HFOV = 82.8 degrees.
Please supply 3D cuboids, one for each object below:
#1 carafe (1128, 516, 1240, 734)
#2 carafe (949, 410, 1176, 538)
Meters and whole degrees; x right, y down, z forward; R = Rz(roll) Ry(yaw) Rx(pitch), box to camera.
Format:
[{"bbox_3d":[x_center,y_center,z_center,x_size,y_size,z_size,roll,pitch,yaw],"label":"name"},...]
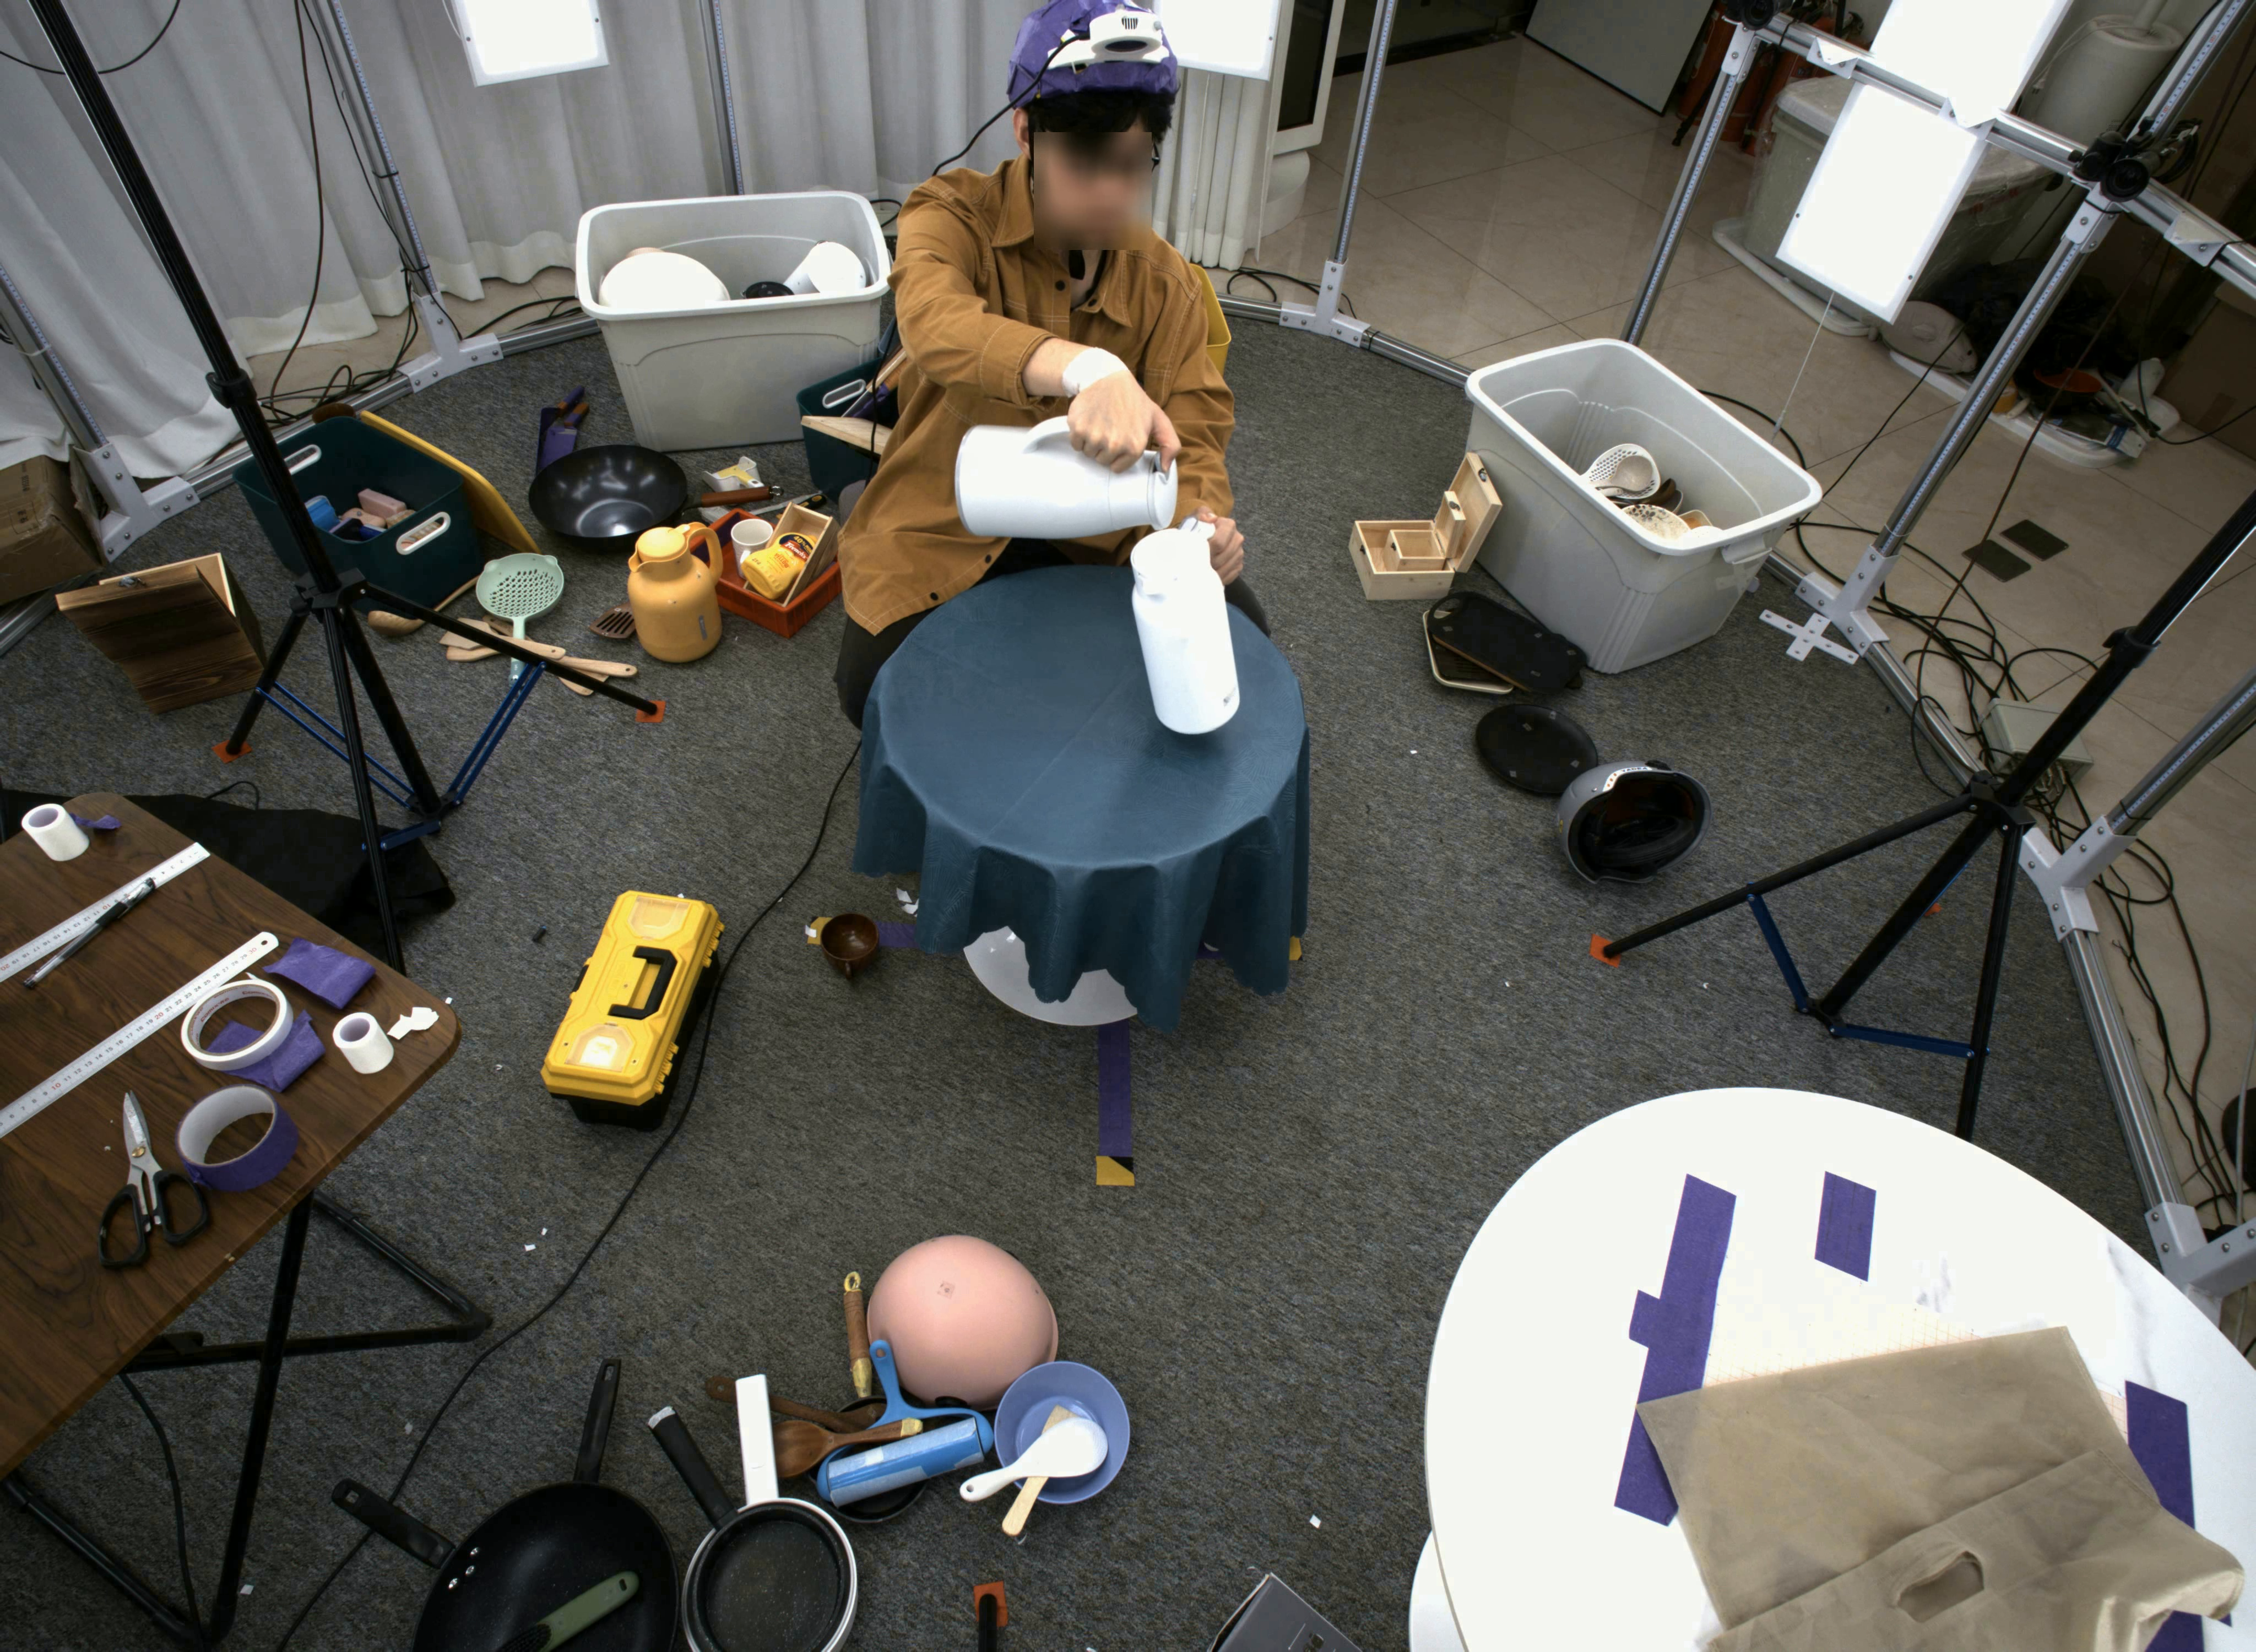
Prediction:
[{"bbox_3d":[0.078,-0.262,1.668,0.124,0.262,0.176,11,52,25],"label":"carafe"},{"bbox_3d":[-0.073,-0.411,1.496,0.249,0.164,0.135,6,62,18],"label":"carafe"}]
